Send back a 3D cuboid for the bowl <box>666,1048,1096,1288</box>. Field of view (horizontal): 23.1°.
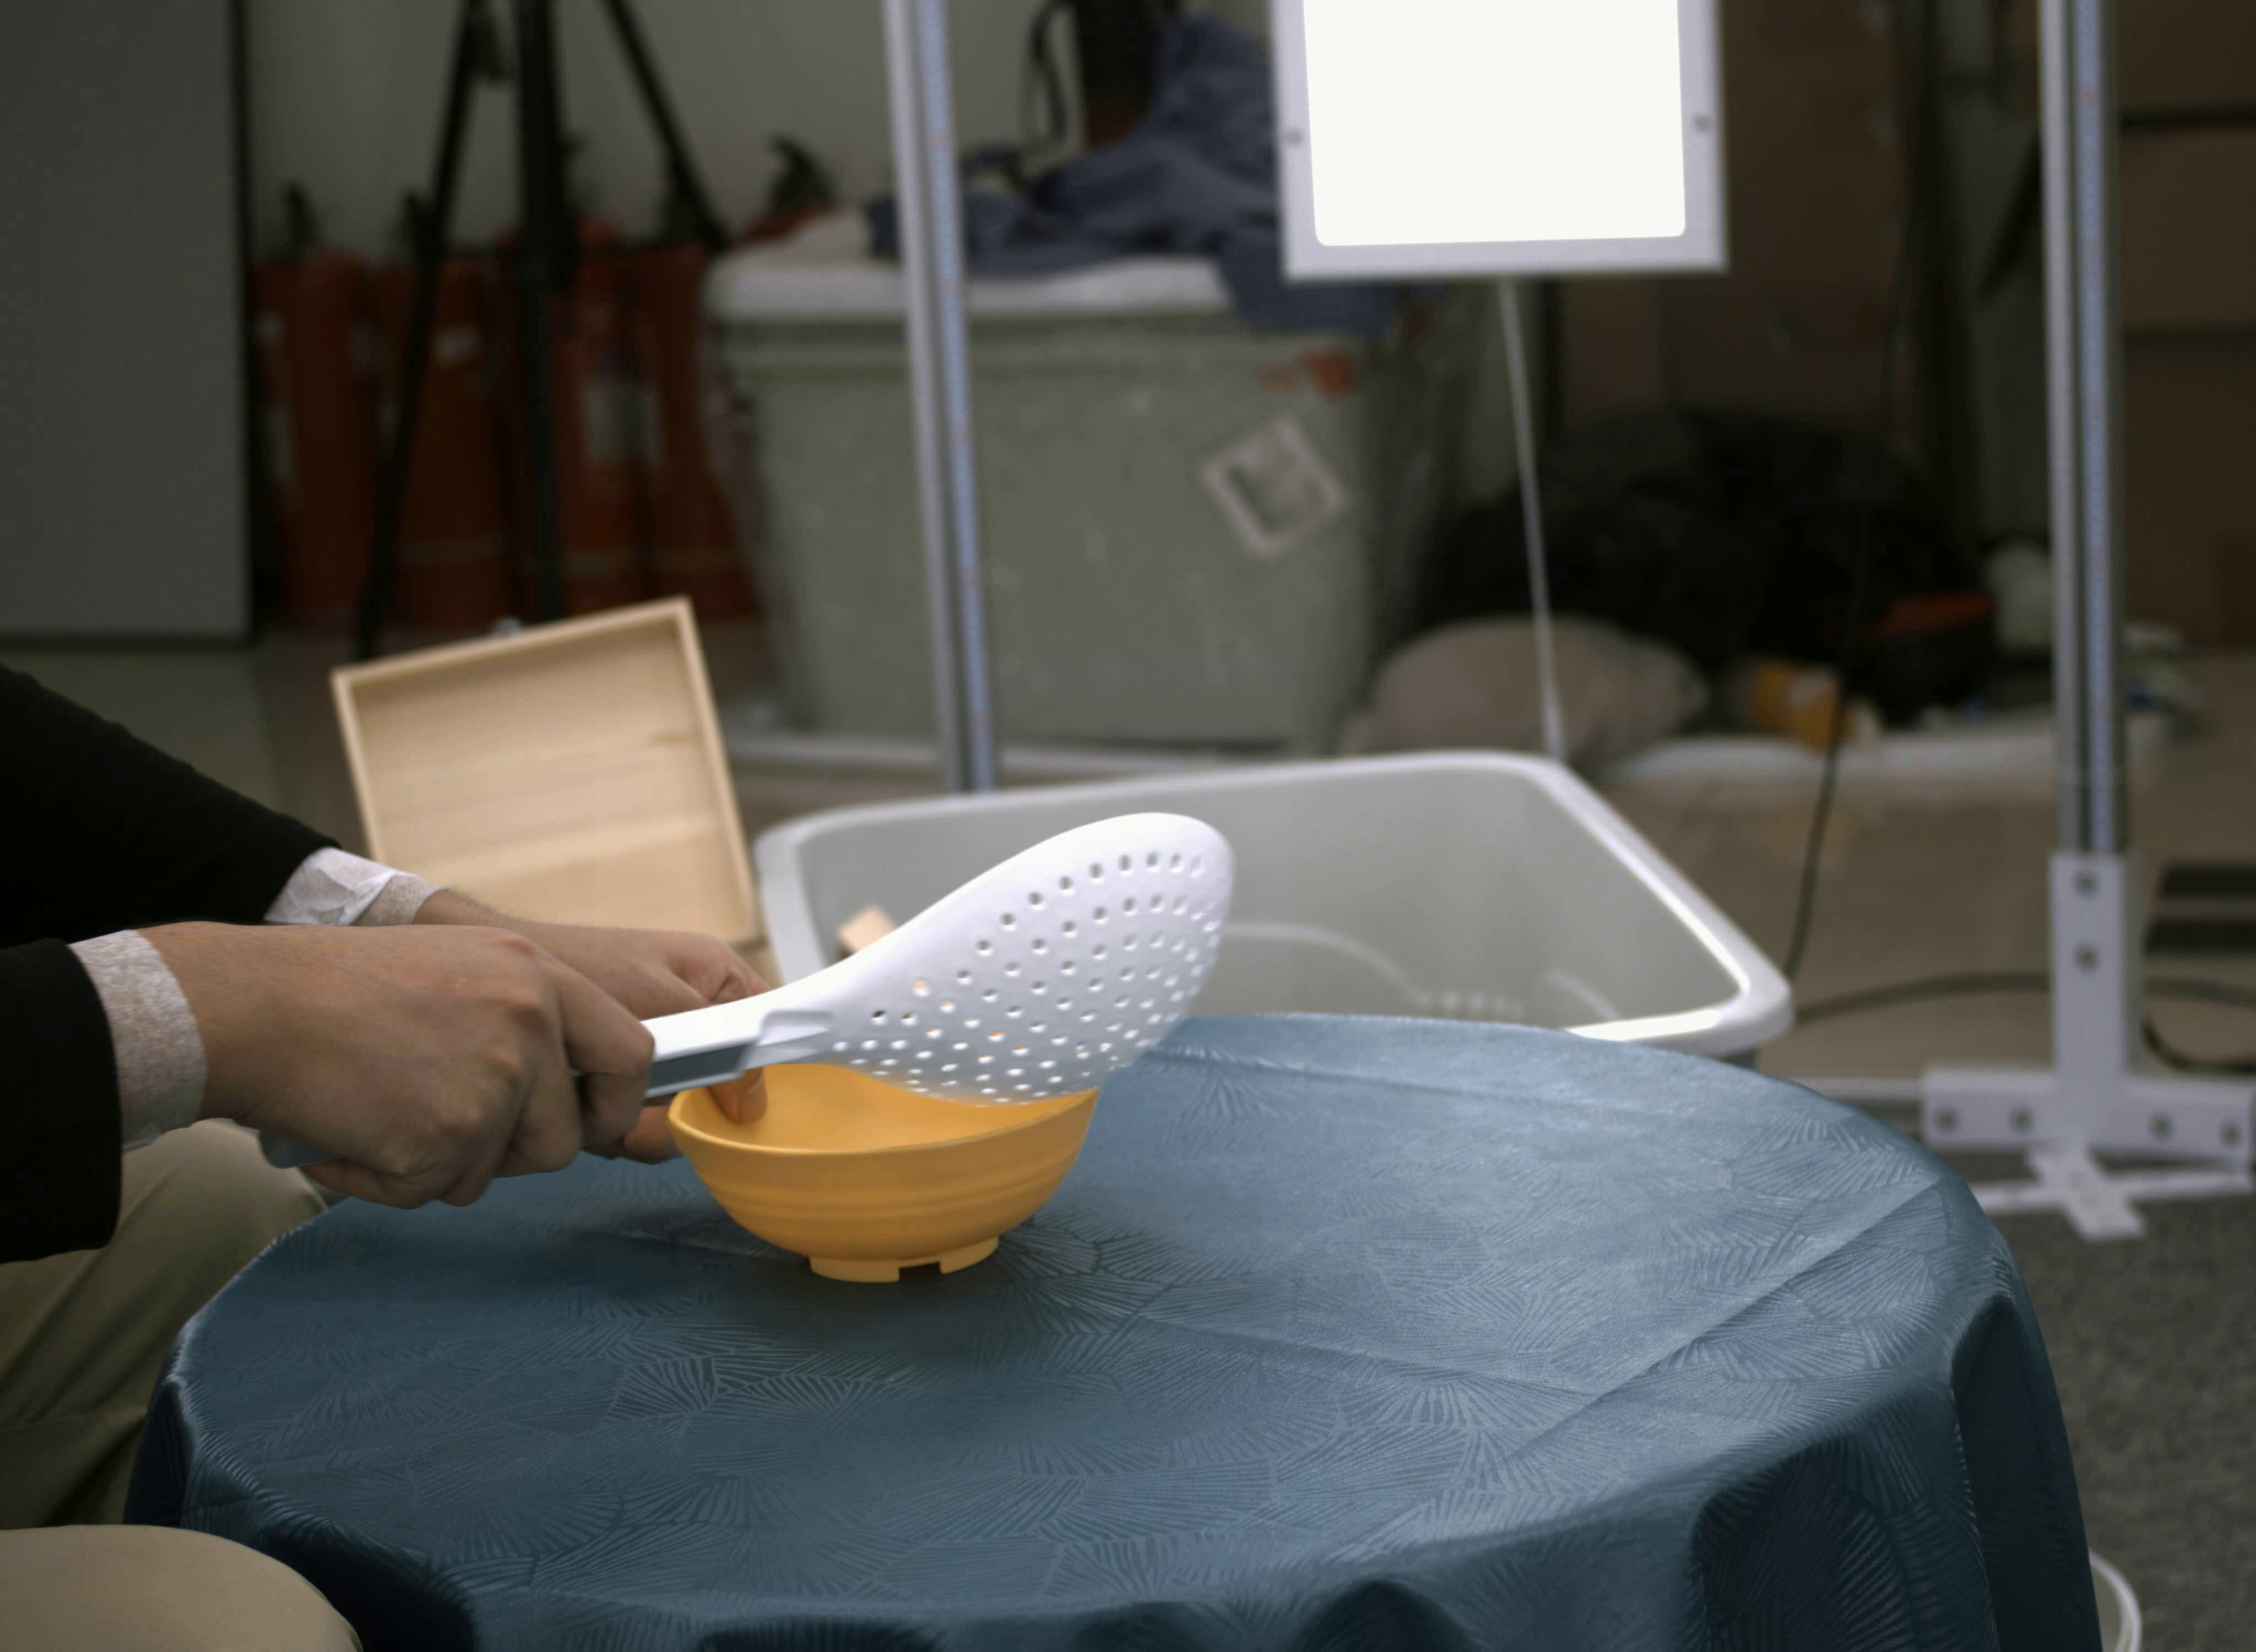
[{"bbox_3d":[-0.081,0.117,1.849,0.145,0.060,0.145,-3,12,-1],"label":"bowl"}]

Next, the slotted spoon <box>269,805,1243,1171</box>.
[{"bbox_3d":[-0.108,0.063,1.726,0.342,0.138,0.046,-6,51,-28],"label":"slotted spoon"}]
